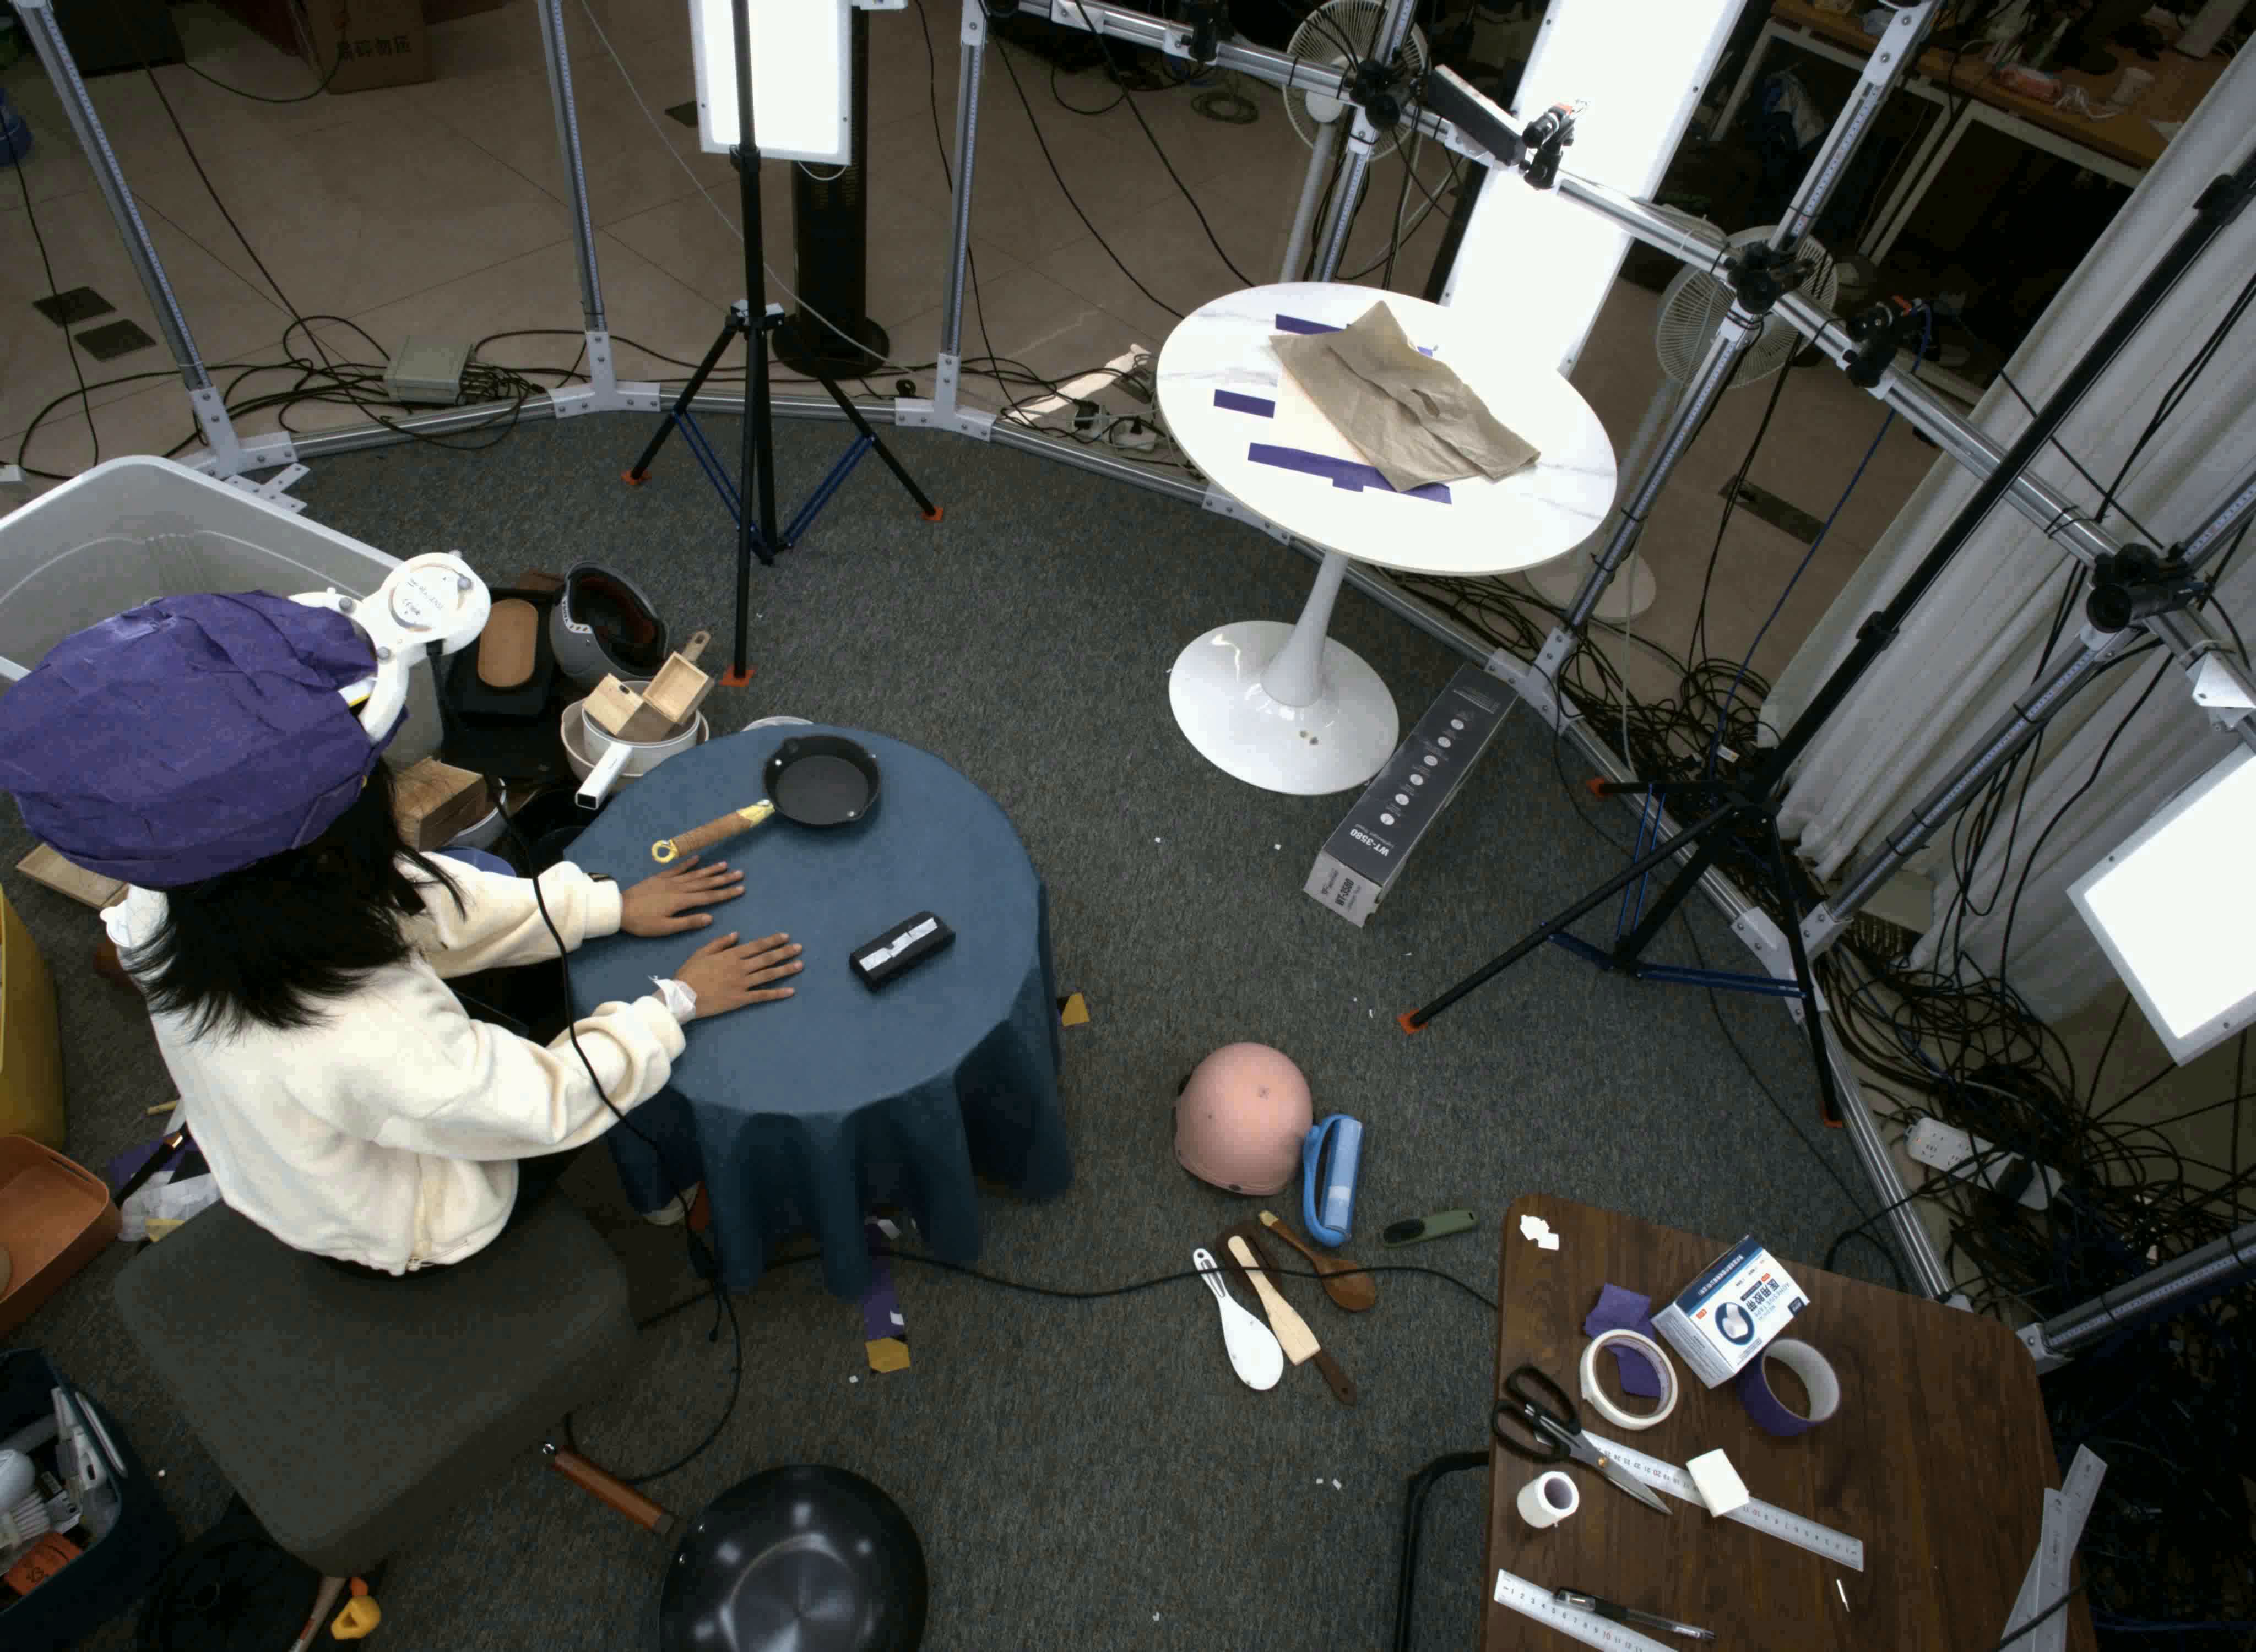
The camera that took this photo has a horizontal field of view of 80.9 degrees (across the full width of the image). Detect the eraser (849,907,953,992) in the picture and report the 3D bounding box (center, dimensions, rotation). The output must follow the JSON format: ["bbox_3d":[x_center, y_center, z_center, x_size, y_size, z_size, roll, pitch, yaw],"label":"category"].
[{"bbox_3d":[-0.283,0.151,1.626,0.126,0.031,0.052,-32,66,-31],"label":"eraser"}]

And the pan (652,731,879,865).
[{"bbox_3d":[-0.475,-0.026,1.691,0.325,0.050,0.165,-30,67,-32],"label":"pan"}]
